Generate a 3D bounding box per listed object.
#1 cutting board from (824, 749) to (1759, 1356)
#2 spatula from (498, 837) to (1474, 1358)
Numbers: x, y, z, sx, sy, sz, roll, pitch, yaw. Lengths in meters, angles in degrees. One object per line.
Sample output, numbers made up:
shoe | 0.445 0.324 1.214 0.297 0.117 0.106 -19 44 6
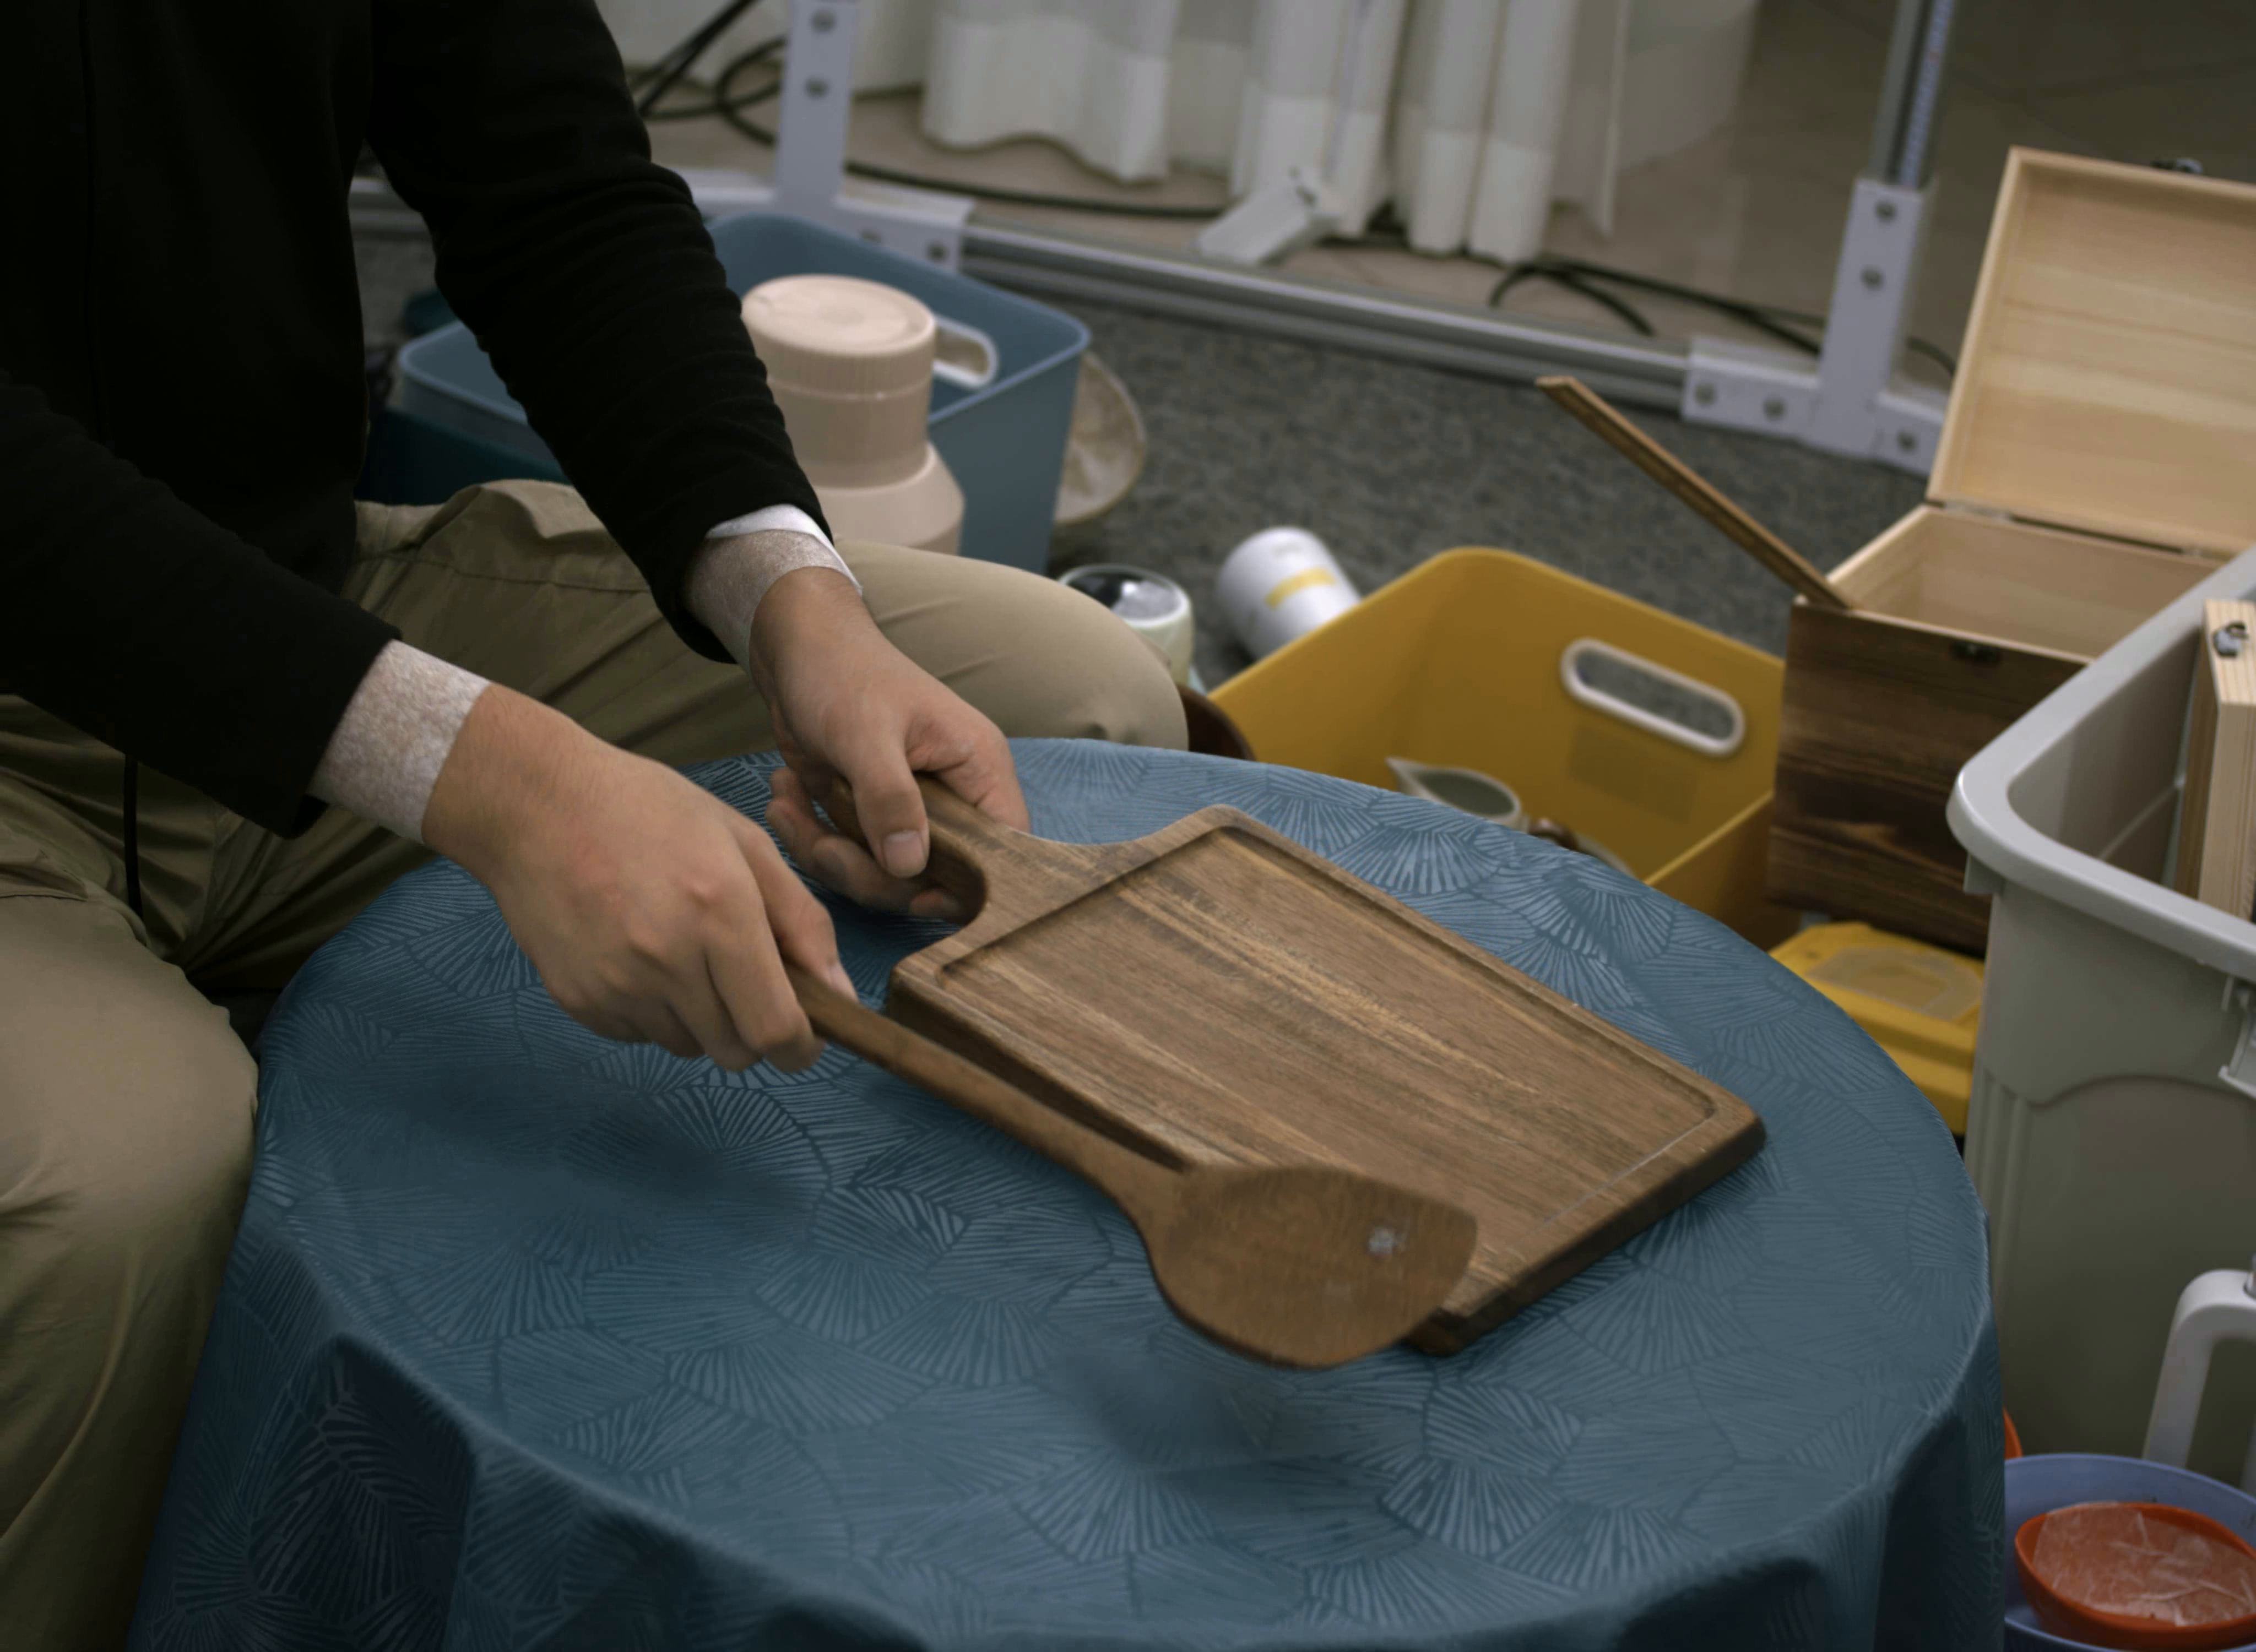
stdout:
cutting board | 0.030 0.059 1.873 0.354 0.023 0.200 30 35 28
spatula | -0.061 0.078 1.735 0.388 0.016 0.096 25 43 29
